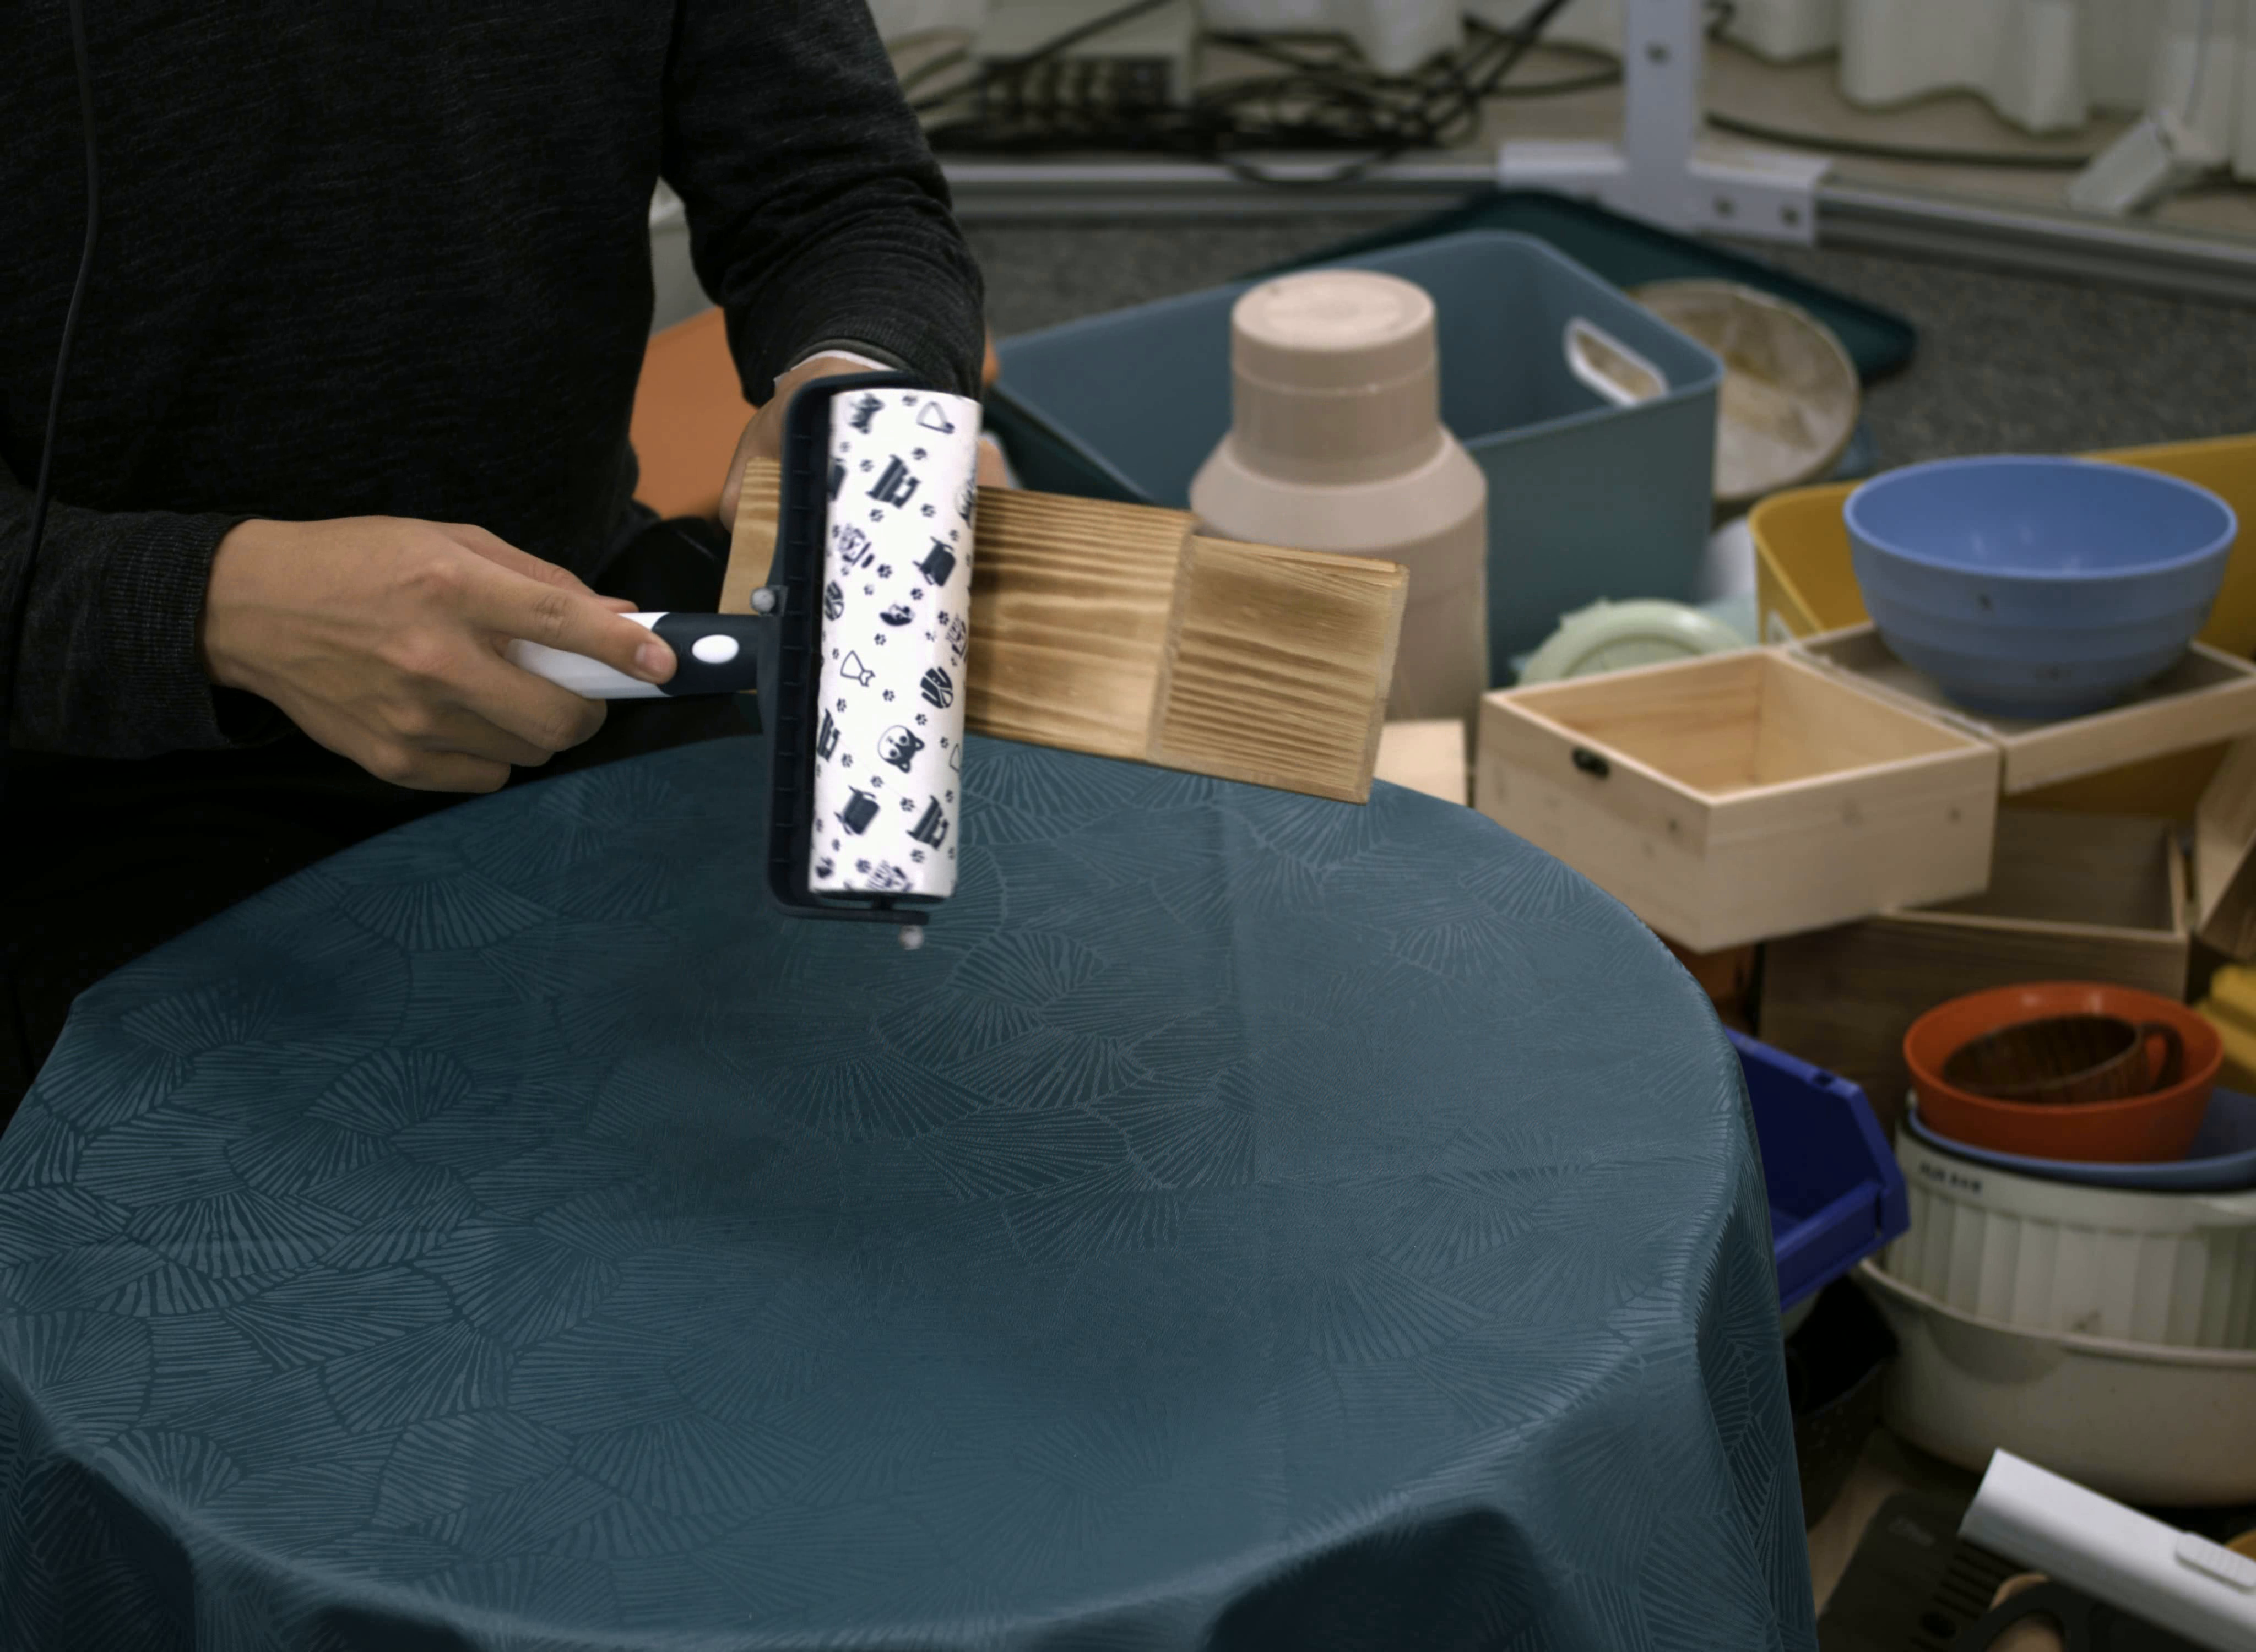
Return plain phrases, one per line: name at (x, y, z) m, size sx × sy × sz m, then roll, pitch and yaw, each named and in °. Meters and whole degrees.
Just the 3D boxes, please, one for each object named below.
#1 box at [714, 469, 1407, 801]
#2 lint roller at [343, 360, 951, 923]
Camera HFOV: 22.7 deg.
box at (-0.025, -0.067, 1.847) m, size 0.210 × 0.081 × 0.107 m, roll 9°, pitch -3°, yaw 45°
lint roller at (-0.165, -0.054, 1.834) m, size 0.244 × 0.177 × 0.050 m, roll -3°, pitch 0°, yaw 33°
